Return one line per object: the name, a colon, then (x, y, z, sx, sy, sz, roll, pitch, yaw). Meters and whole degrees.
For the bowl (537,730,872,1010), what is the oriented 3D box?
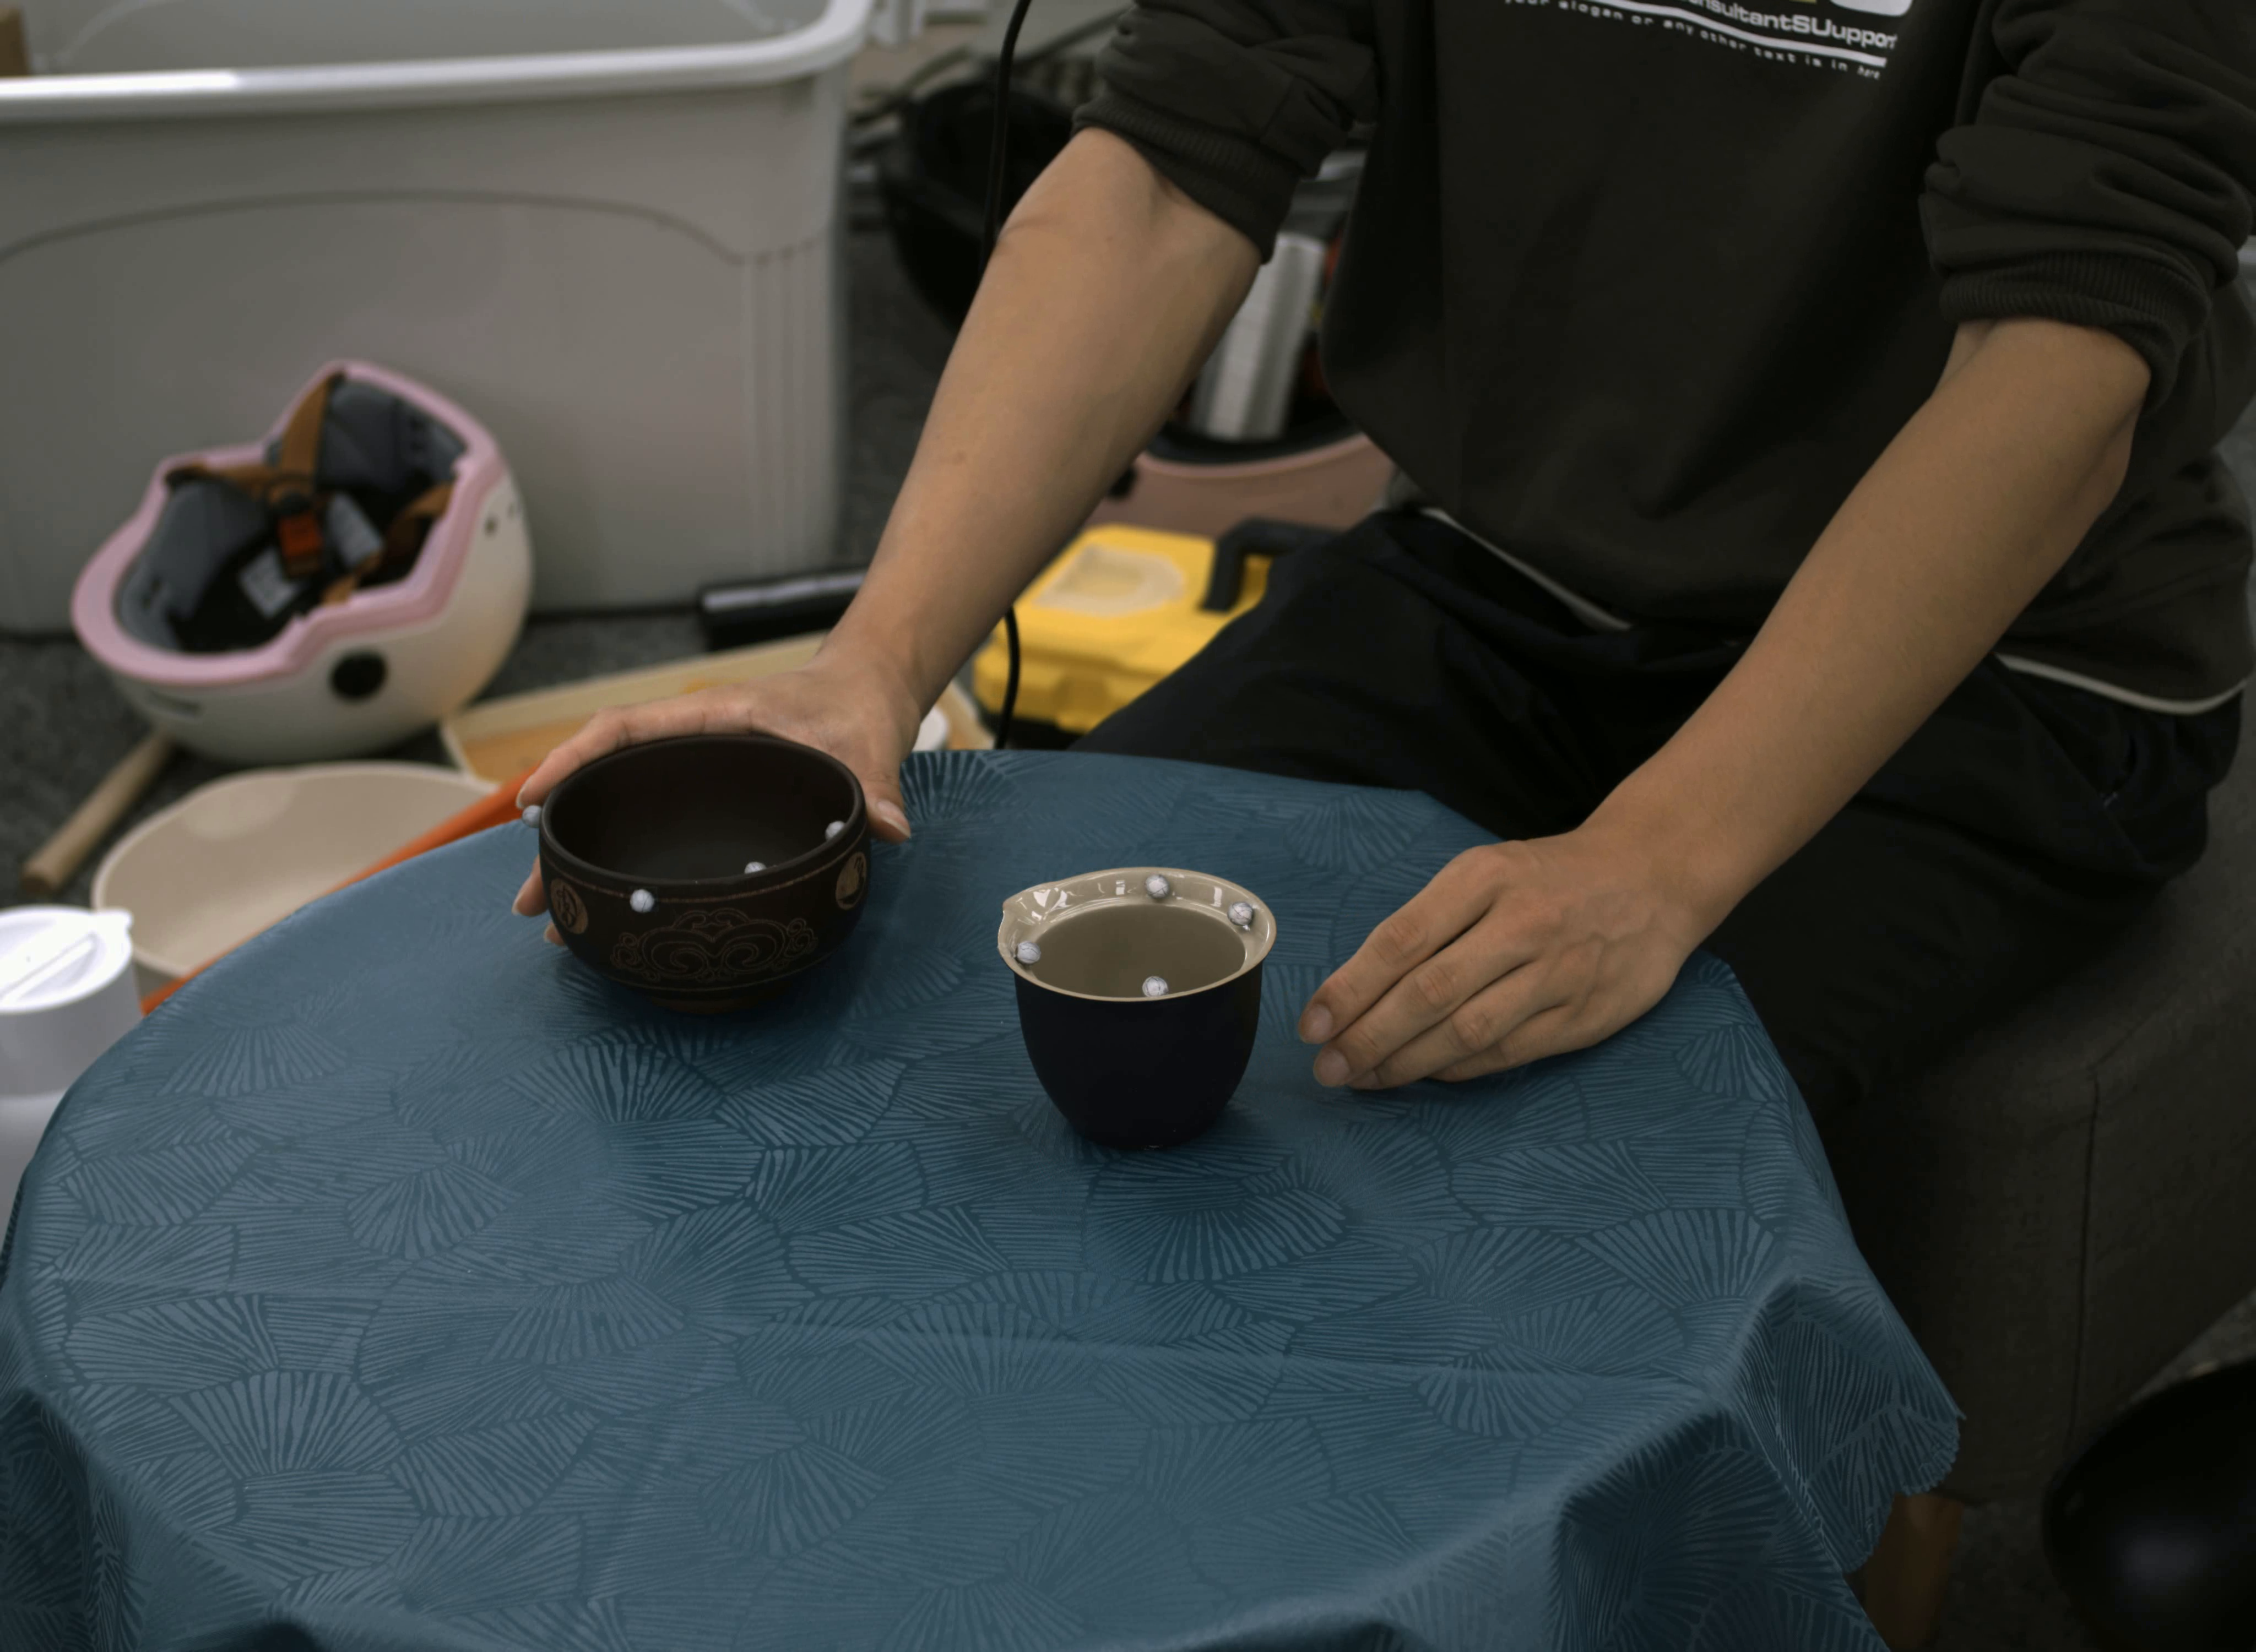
bowl: (-0.149, 0.022, 1.991, 0.117, 0.069, 0.120, -1, 26, 1)

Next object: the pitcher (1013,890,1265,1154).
pitcher: (0.002, 0.066, 1.894, 0.095, 0.070, 0.085, 20, 37, 39)
